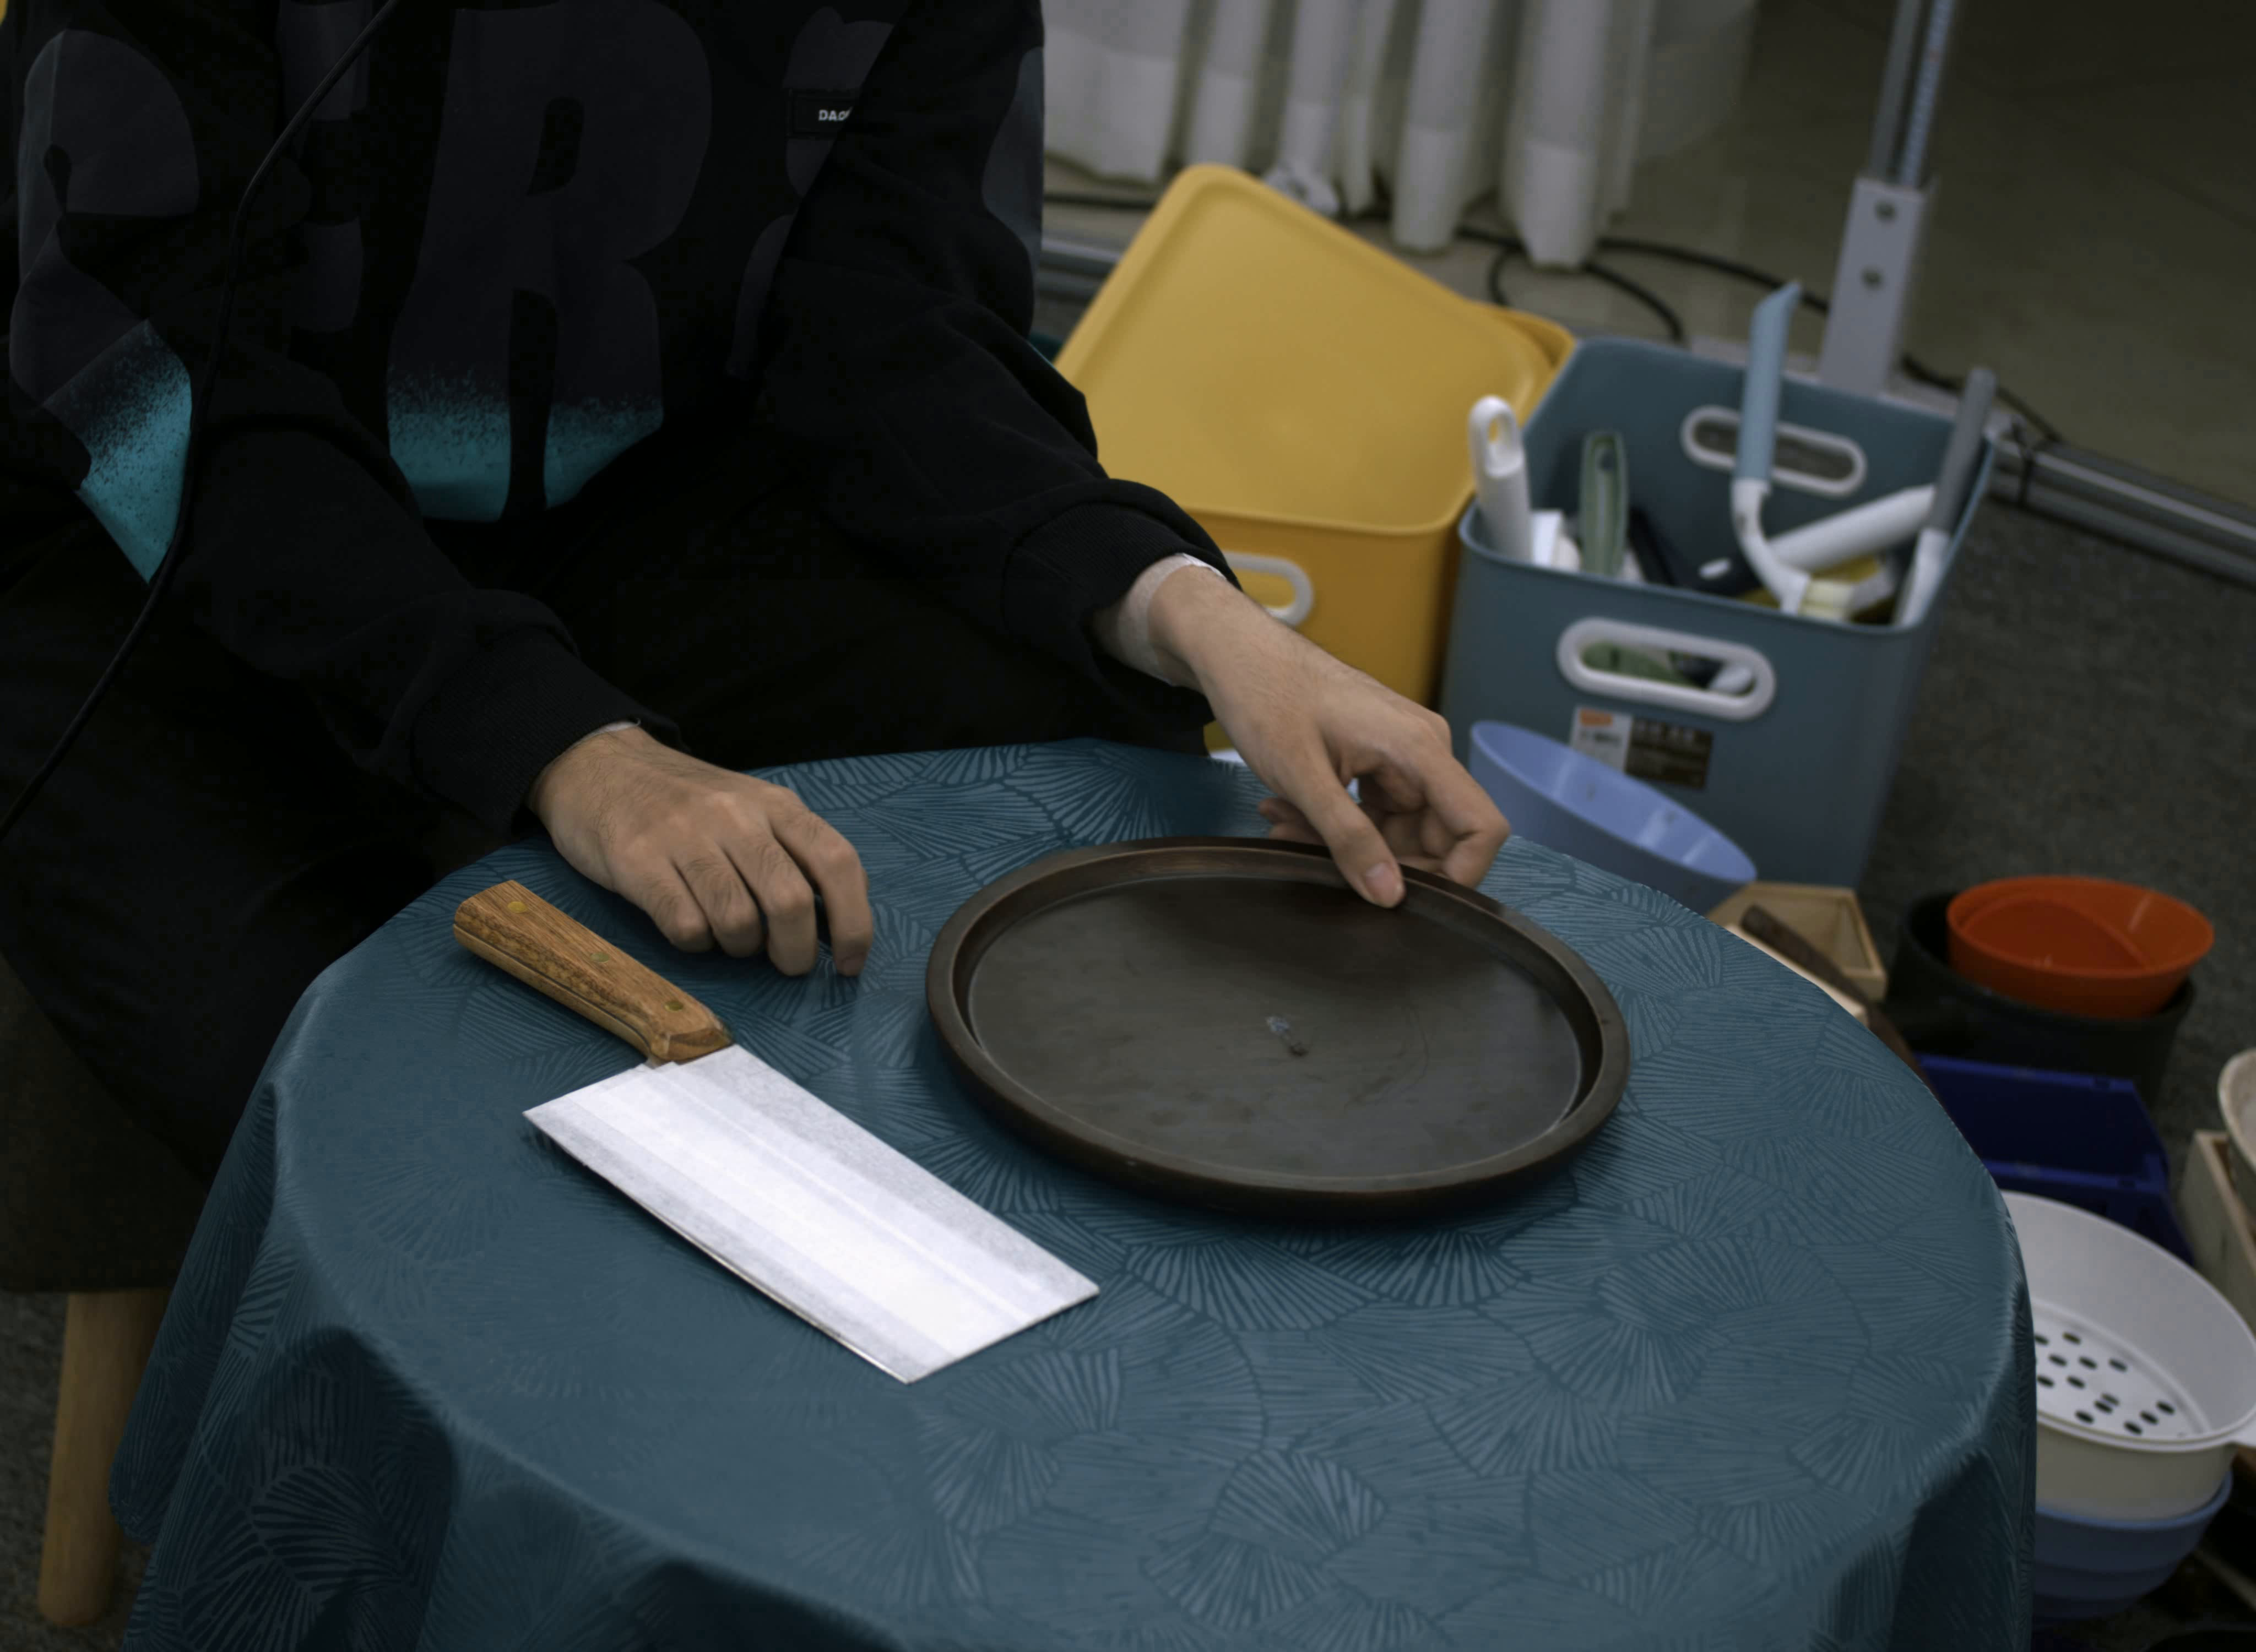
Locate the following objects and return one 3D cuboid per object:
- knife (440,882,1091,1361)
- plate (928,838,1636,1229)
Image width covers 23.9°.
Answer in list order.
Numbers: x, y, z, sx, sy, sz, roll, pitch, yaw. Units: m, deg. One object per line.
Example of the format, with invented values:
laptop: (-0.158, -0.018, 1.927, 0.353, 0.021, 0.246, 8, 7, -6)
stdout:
knife: (-0.146, 0.100, 1.800, 0.092, 0.021, 0.308, -22, 41, -41)
plate: (0.054, 0.072, 1.889, 0.254, 0.029, 0.256, 6, 27, -4)
